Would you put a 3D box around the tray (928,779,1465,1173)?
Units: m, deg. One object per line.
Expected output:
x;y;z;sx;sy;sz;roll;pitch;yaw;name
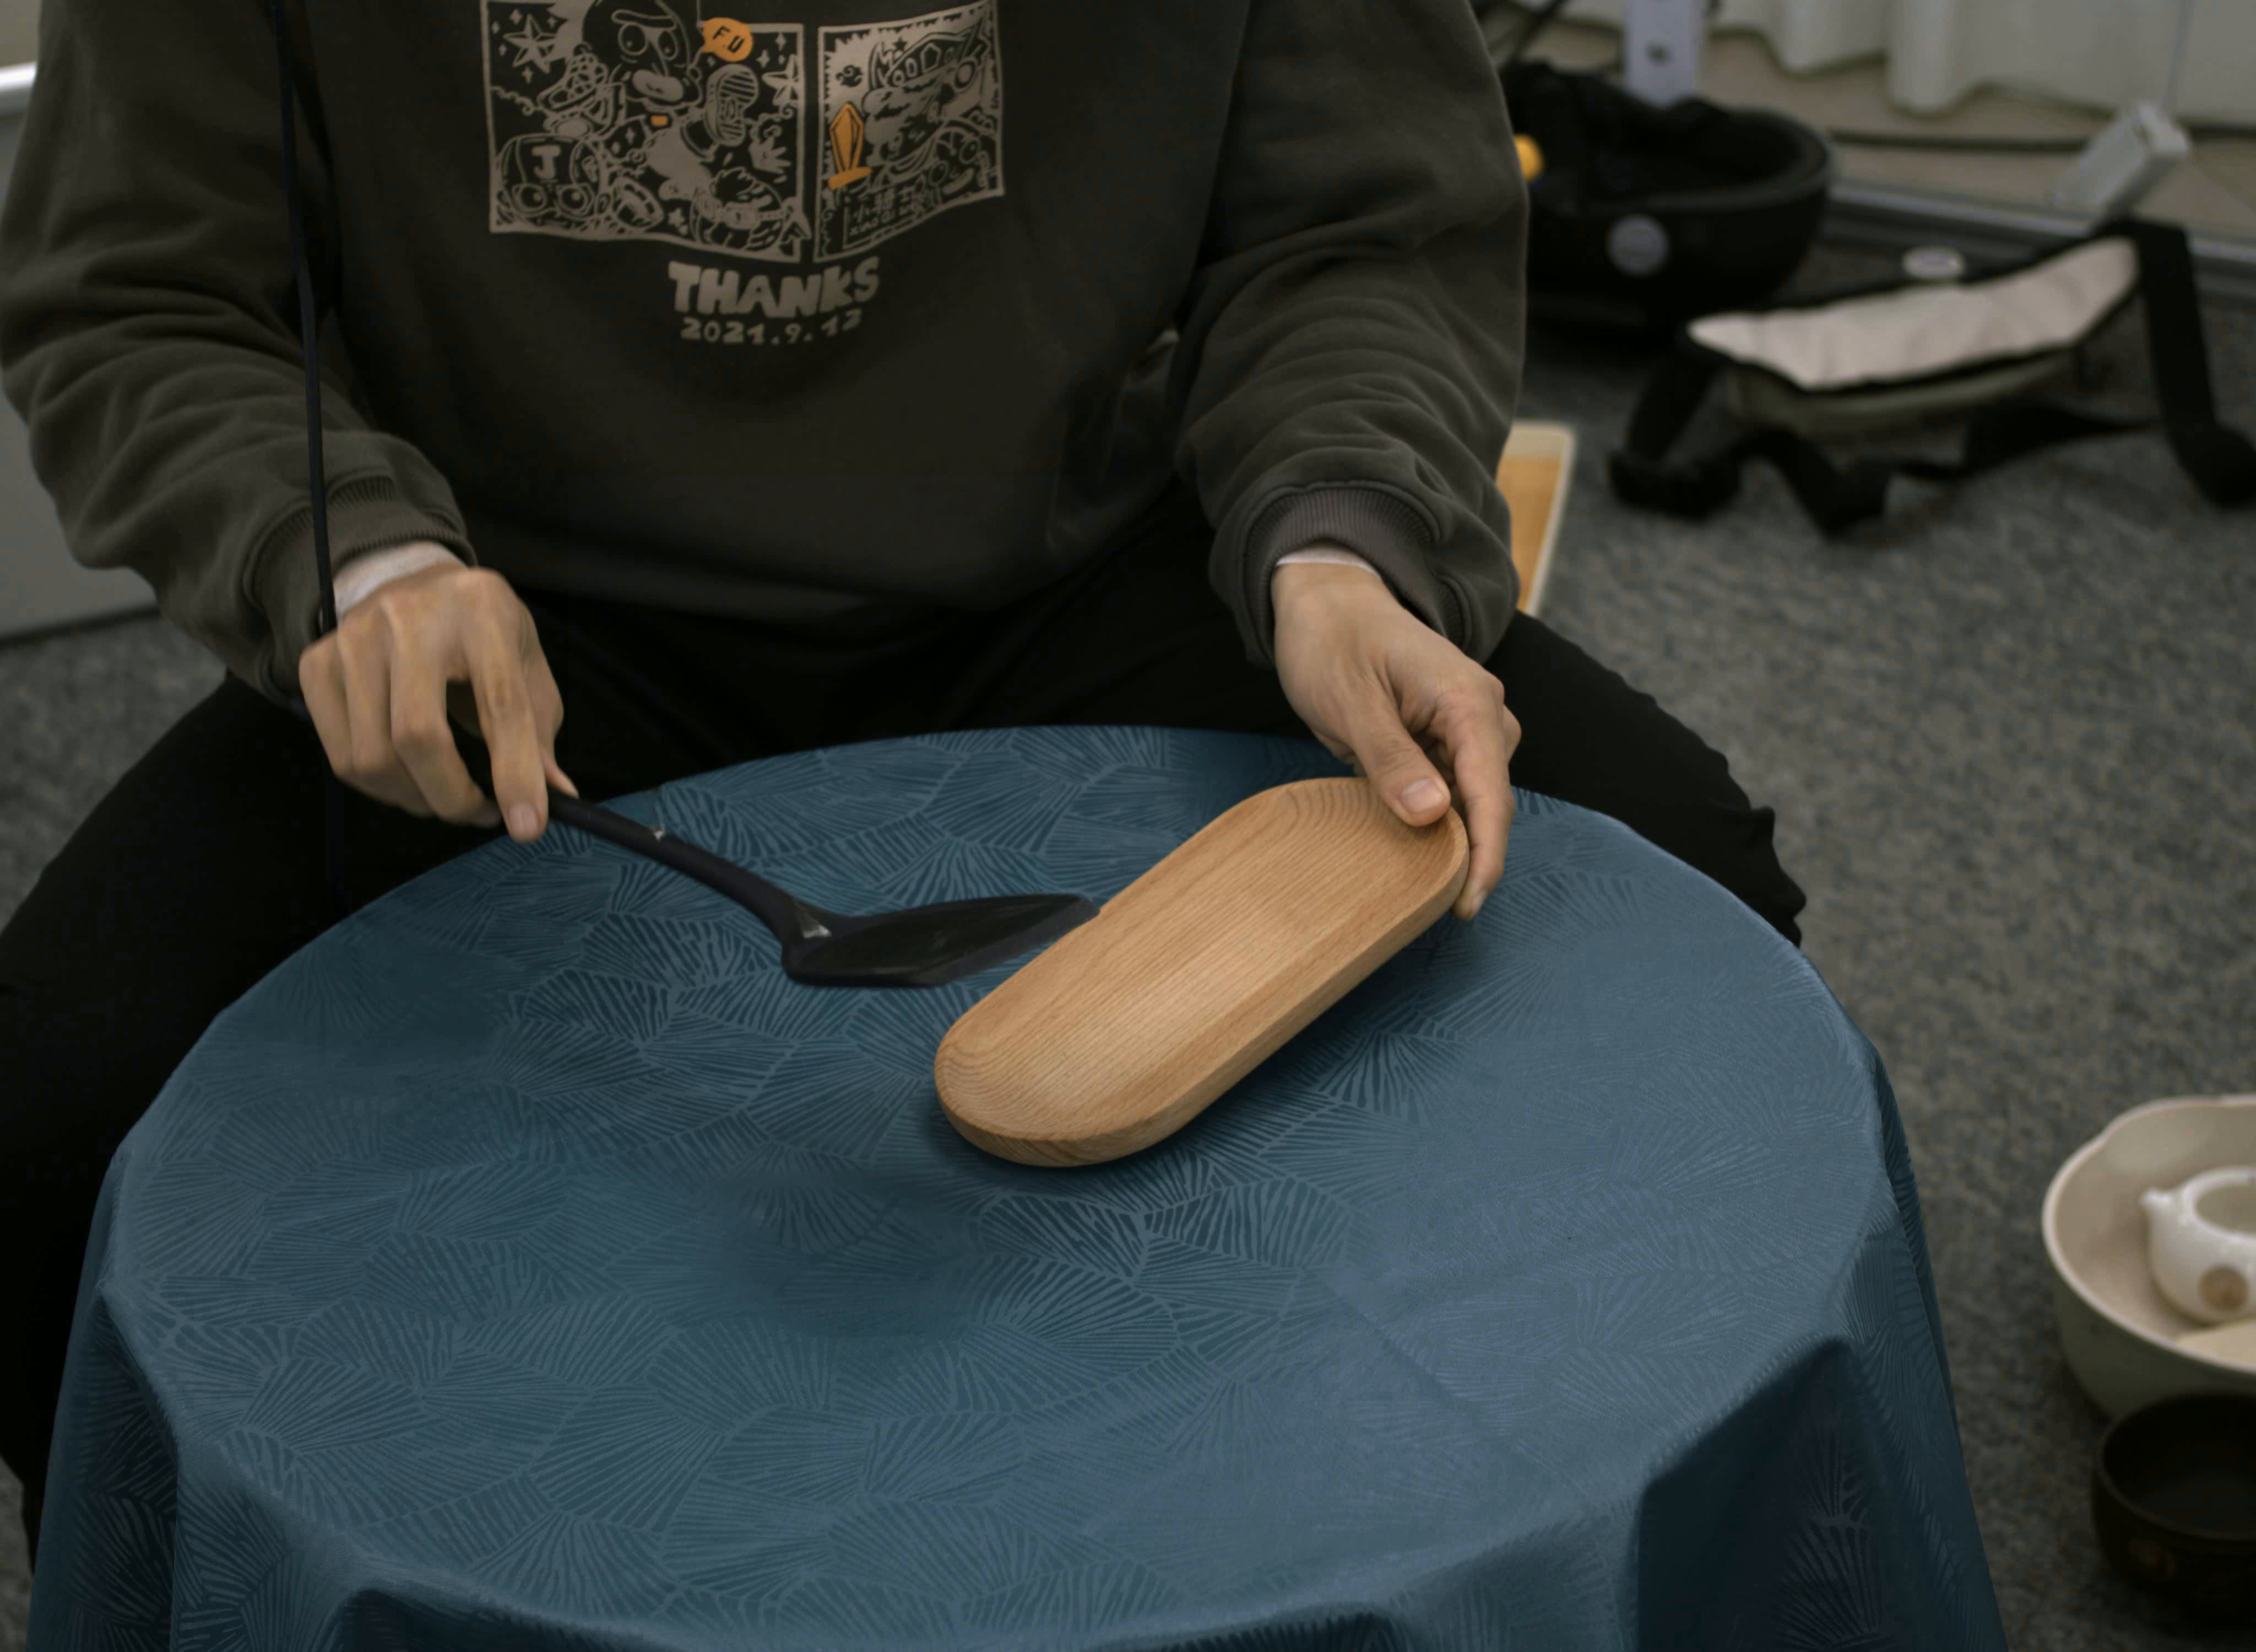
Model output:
0.026;0.050;1.943;0.101;0.020;0.234;18;44;39;tray

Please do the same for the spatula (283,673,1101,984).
-0.162;-0.004;1.894;0.325;0.040;0.101;25;25;28;spatula
